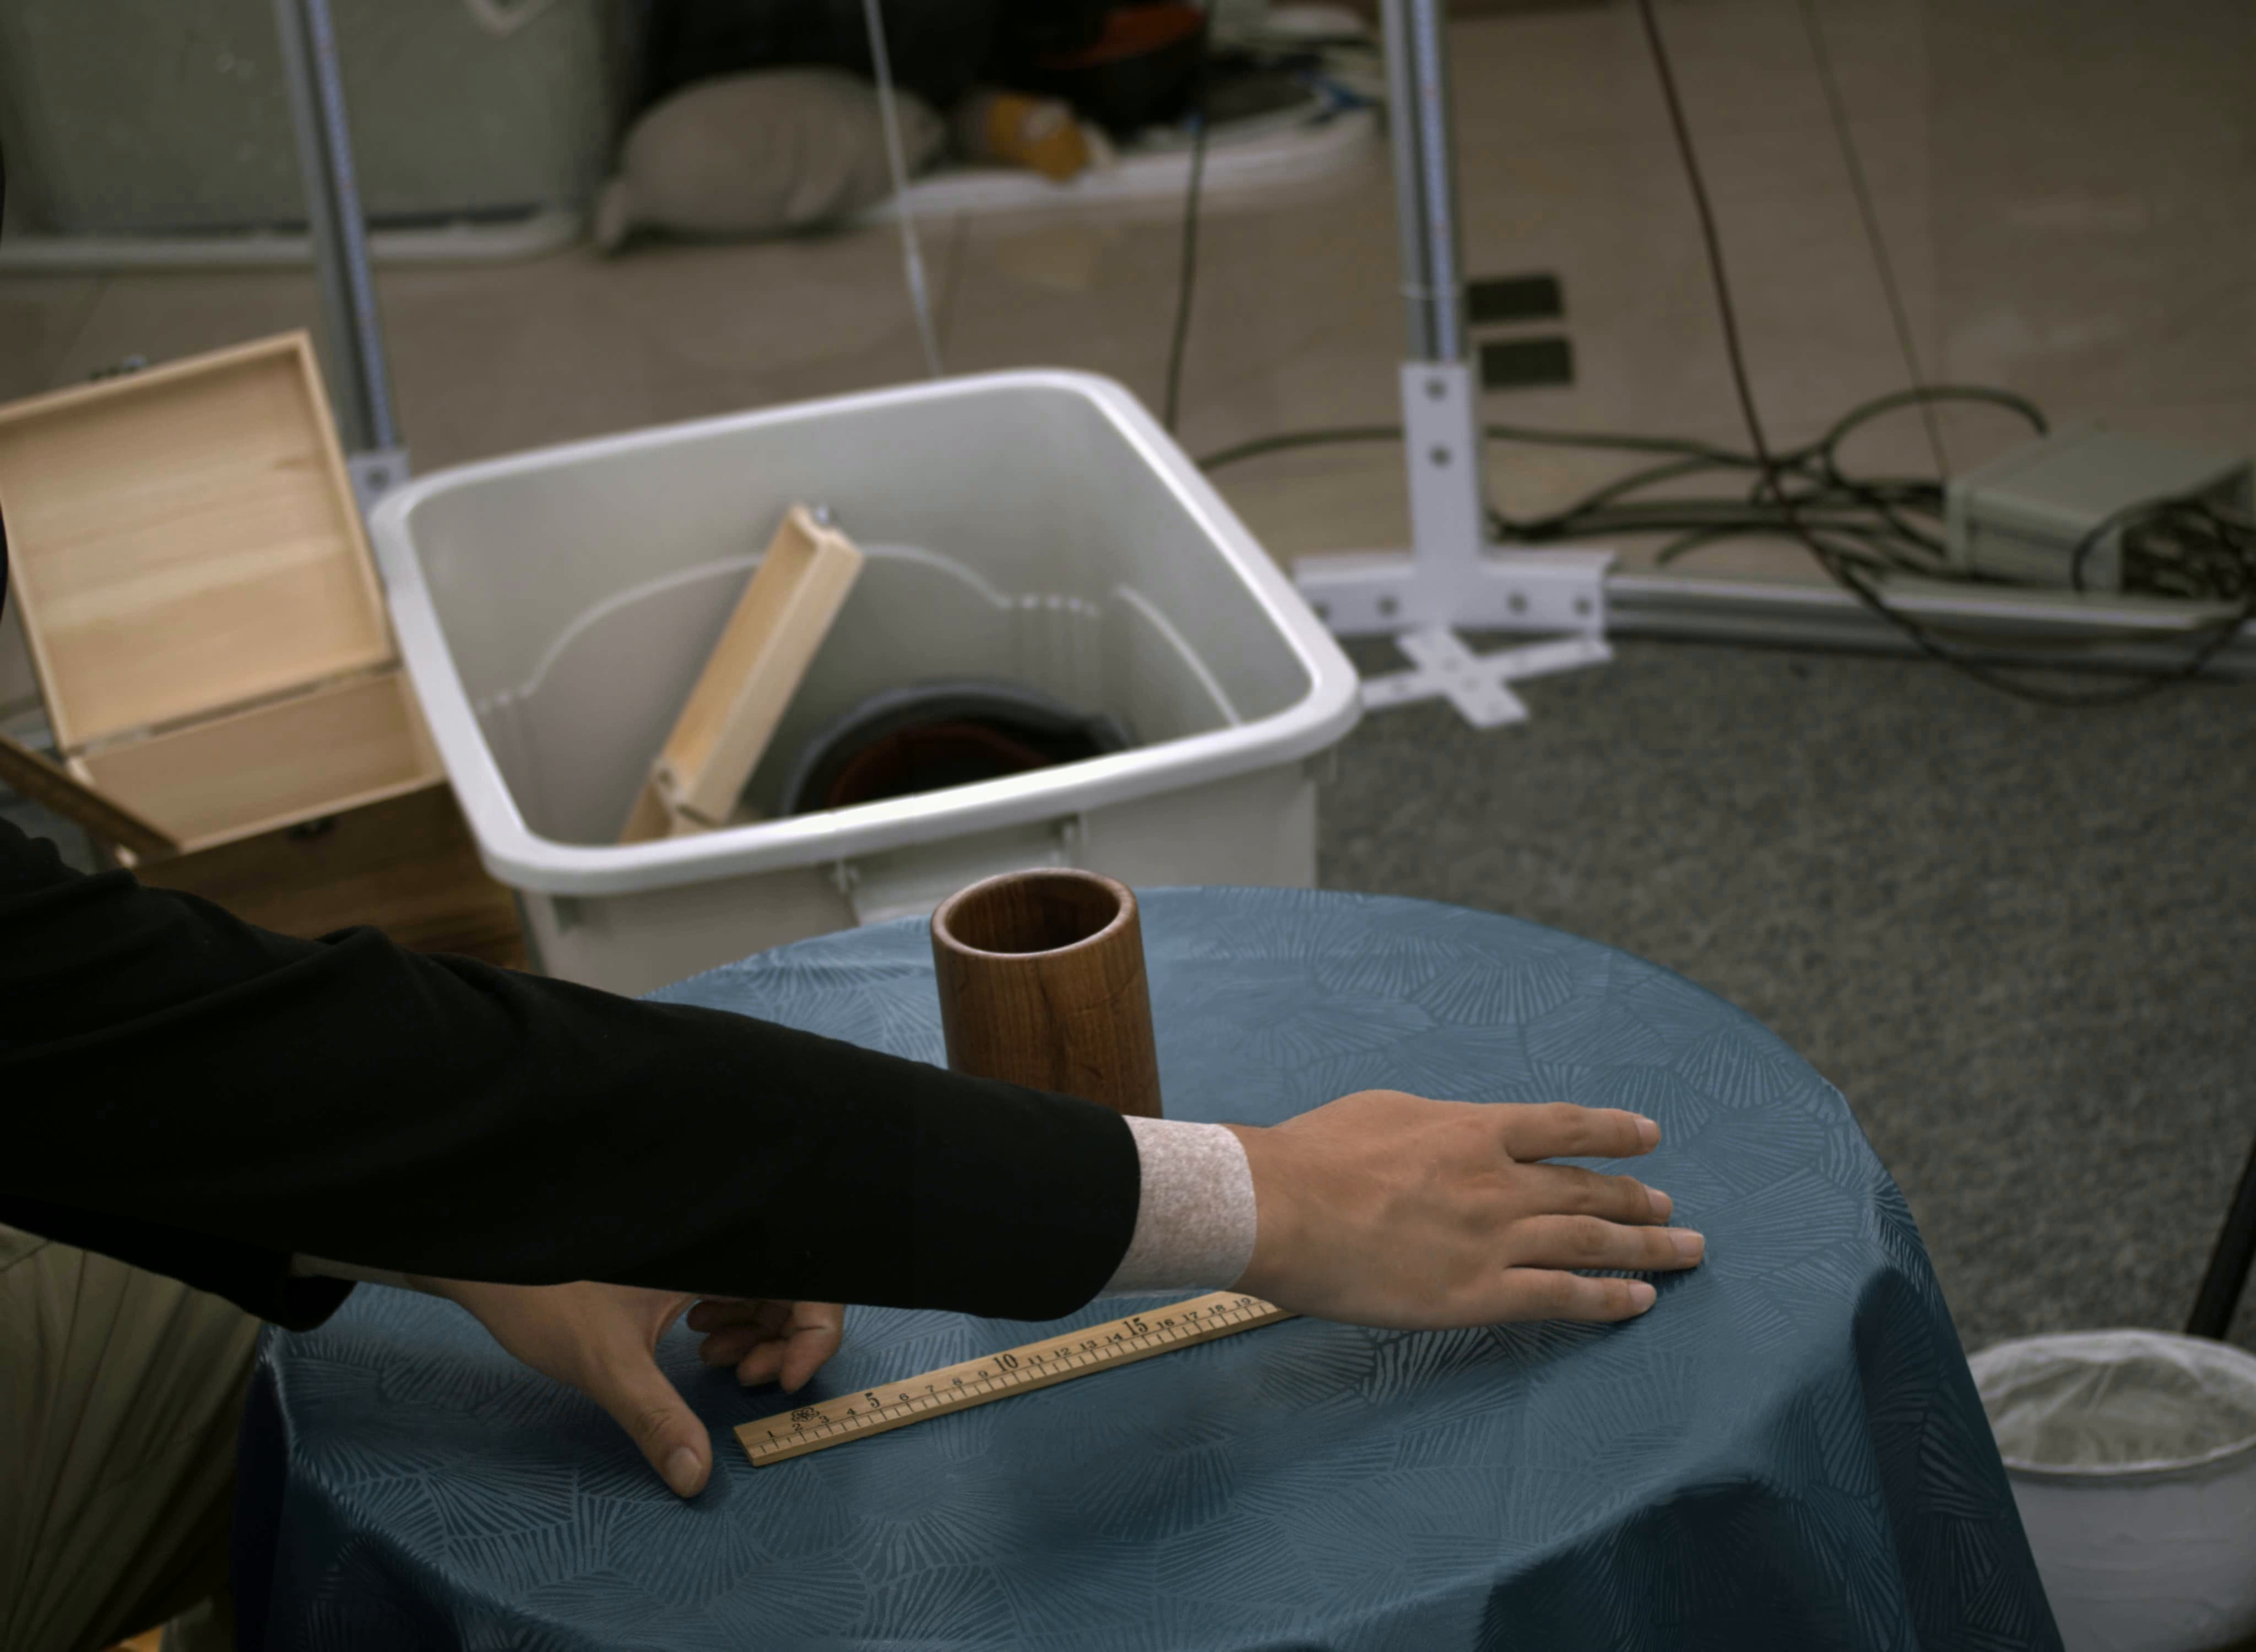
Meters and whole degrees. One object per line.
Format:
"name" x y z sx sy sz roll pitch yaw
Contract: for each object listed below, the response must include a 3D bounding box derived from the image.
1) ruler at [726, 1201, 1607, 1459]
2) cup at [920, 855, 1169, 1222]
"ruler" 0.016 0.178 2.048 0.331 0.022 0.027 -13 21 -15
"cup" -0.029 0.080 2.142 0.087 0.120 0.086 -6 25 3
